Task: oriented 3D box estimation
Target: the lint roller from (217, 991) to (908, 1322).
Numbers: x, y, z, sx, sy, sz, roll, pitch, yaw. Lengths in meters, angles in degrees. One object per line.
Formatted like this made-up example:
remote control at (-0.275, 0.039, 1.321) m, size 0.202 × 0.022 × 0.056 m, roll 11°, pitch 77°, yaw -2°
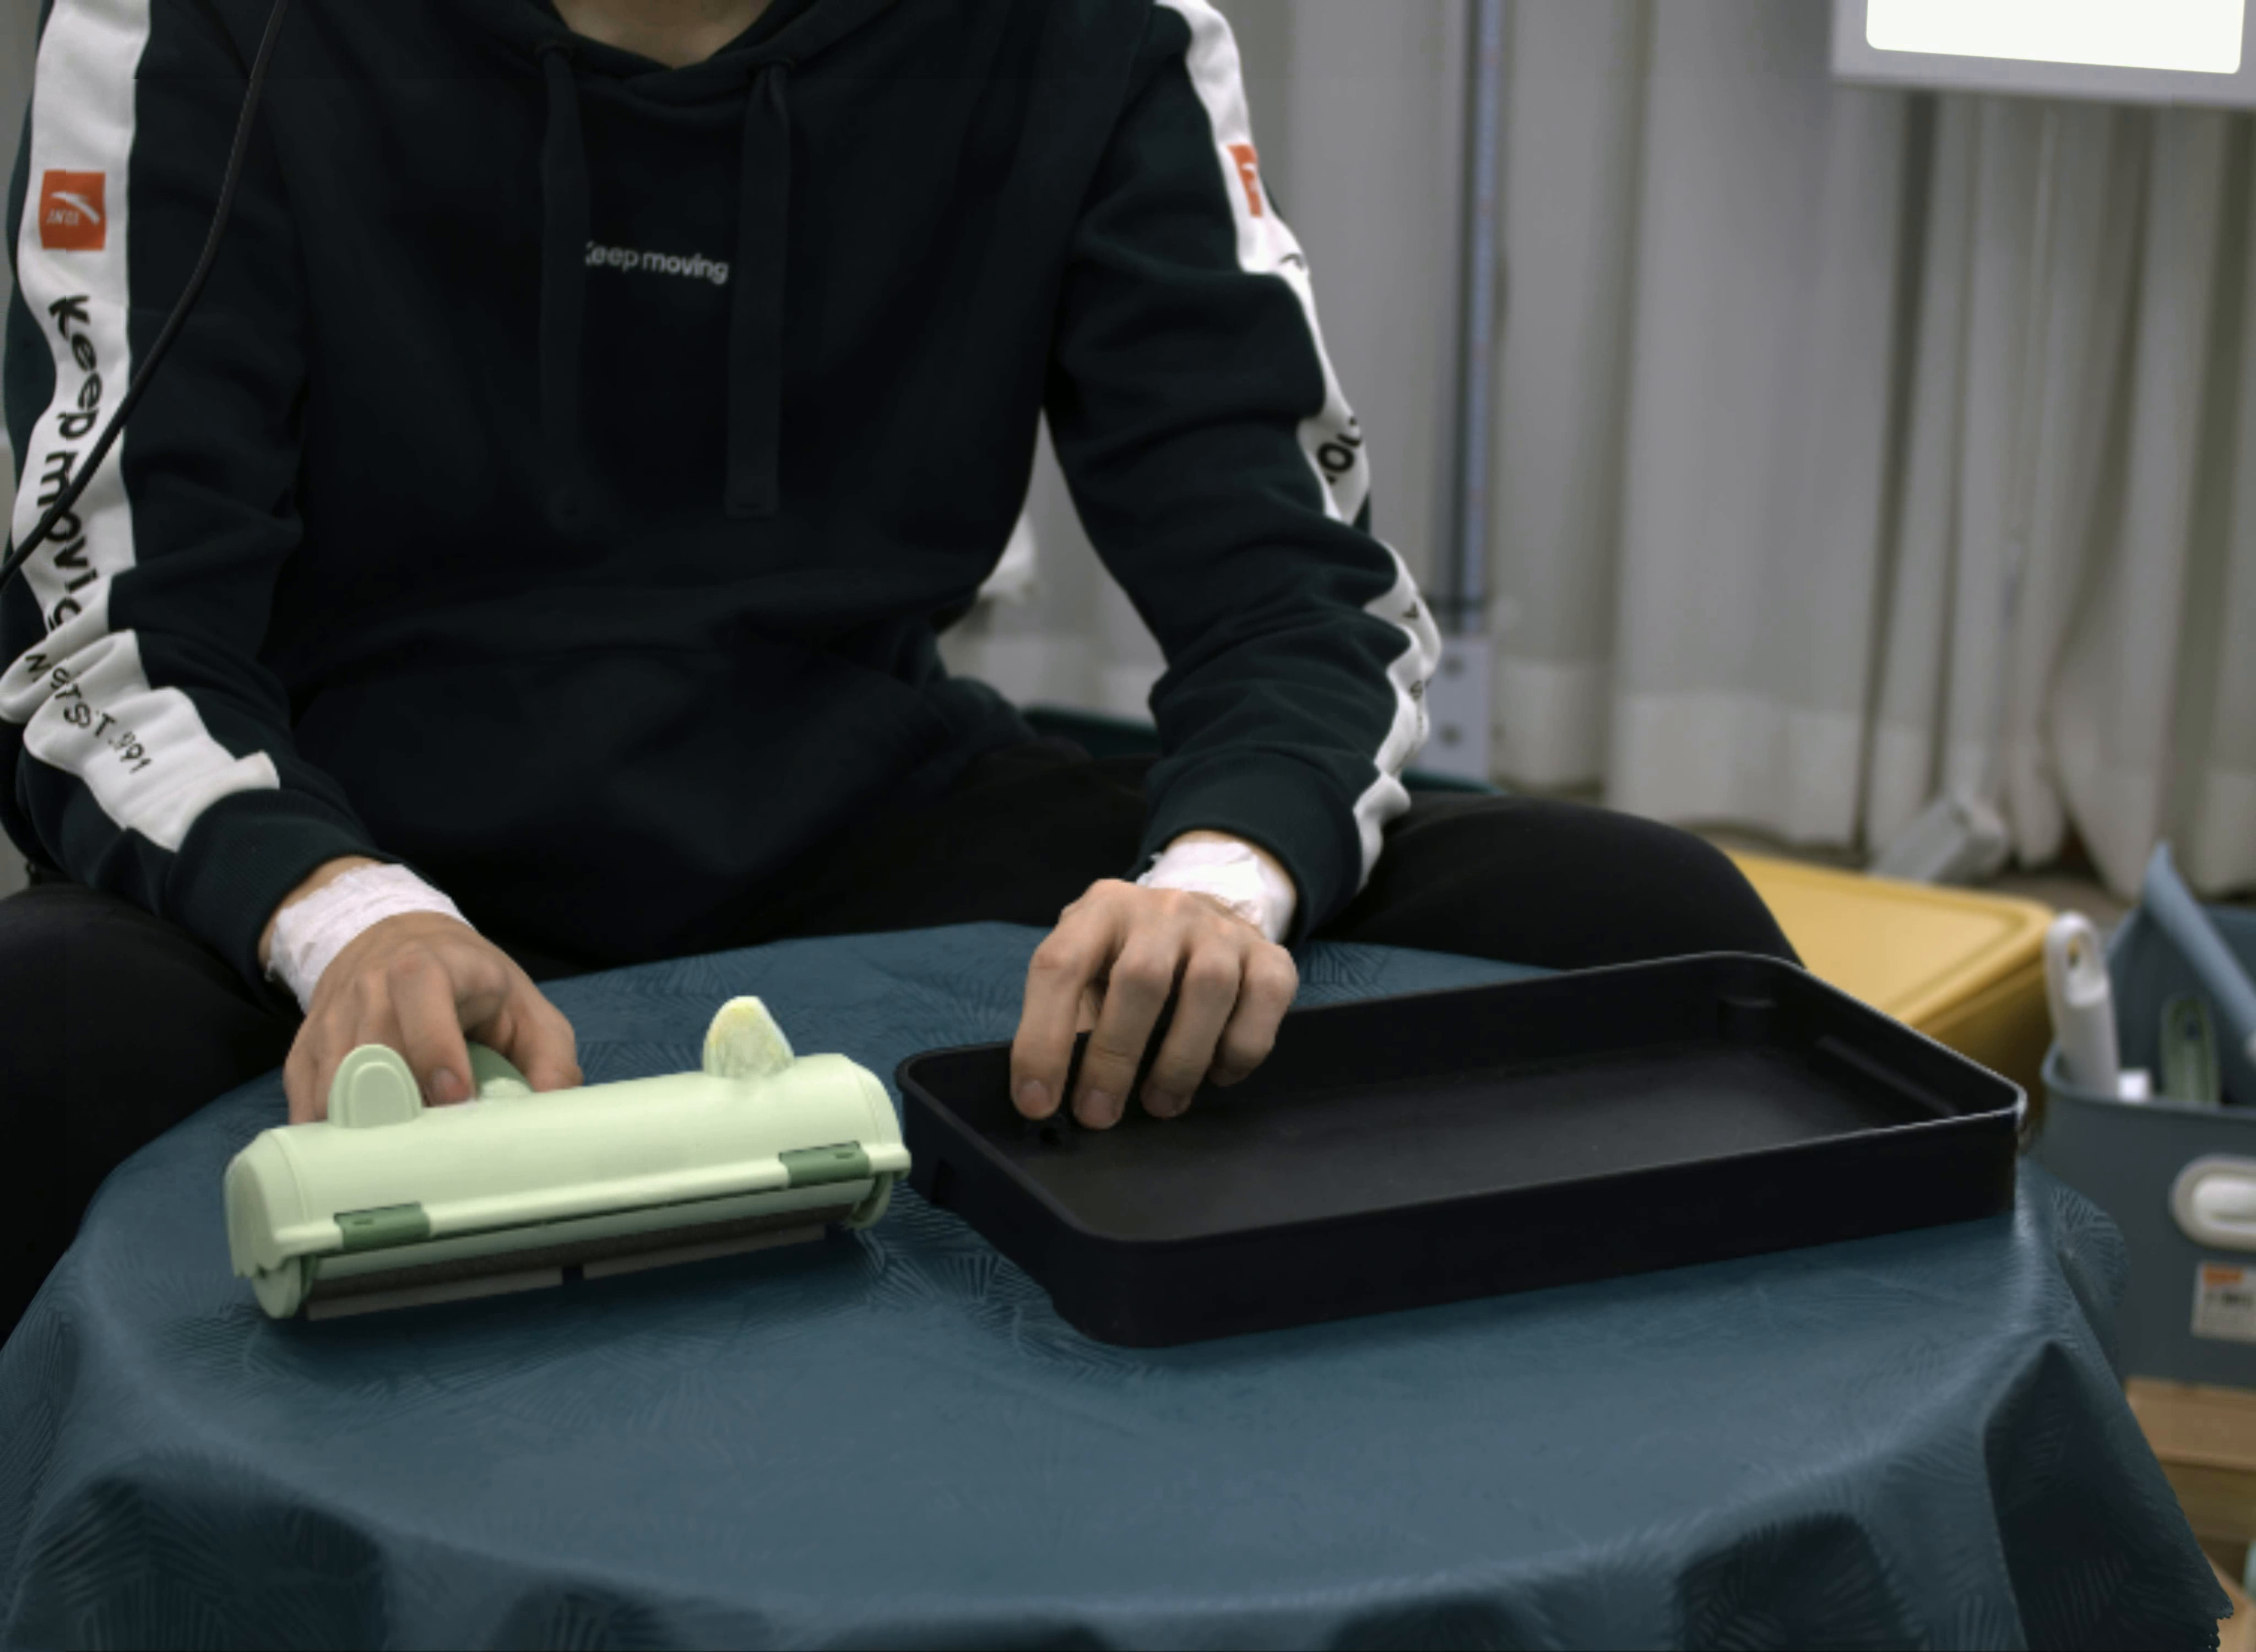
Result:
lint roller at (-0.187, 0.077, 1.574) m, size 0.199 × 0.083 × 0.181 m, roll -7°, pitch 25°, yaw -25°

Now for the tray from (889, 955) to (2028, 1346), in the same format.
tray at (0.100, 0.095, 1.618) m, size 0.319 × 0.037 × 0.182 m, roll -6°, pitch 17°, yaw -23°
